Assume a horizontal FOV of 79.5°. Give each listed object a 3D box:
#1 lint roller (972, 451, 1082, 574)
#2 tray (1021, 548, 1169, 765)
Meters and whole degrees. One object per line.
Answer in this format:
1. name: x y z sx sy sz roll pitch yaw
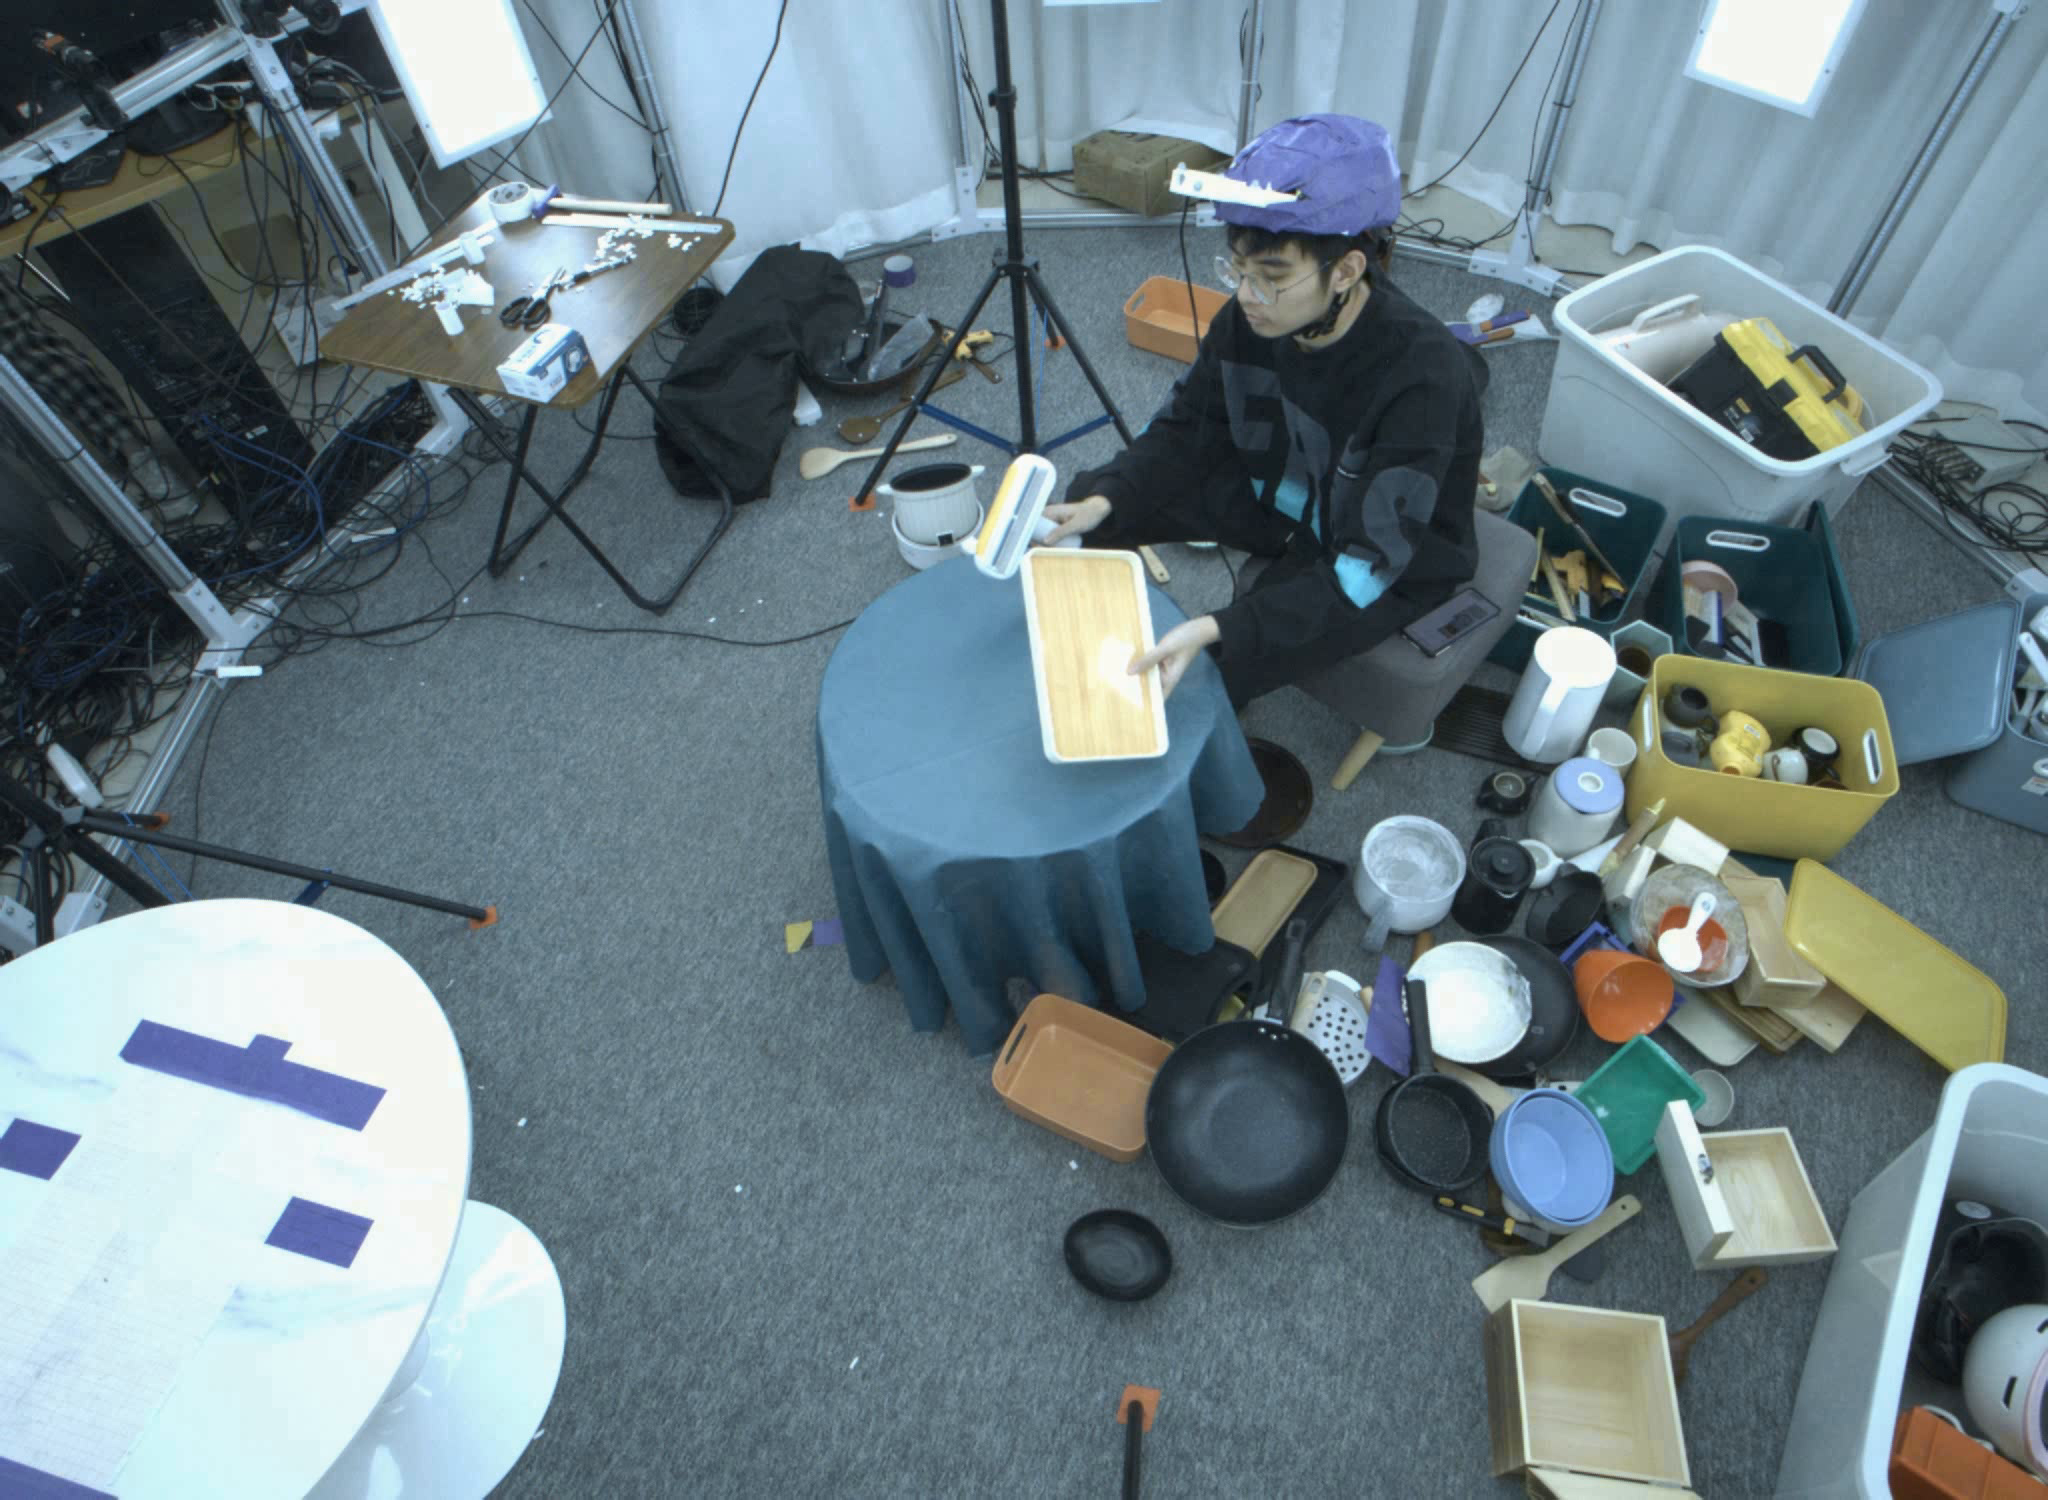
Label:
1. lint roller: 0.025 -0.339 1.871 0.072 0.197 0.193 27 94 52
2. tray: 0.098 -0.131 1.707 0.195 0.027 0.299 -3 82 -32
